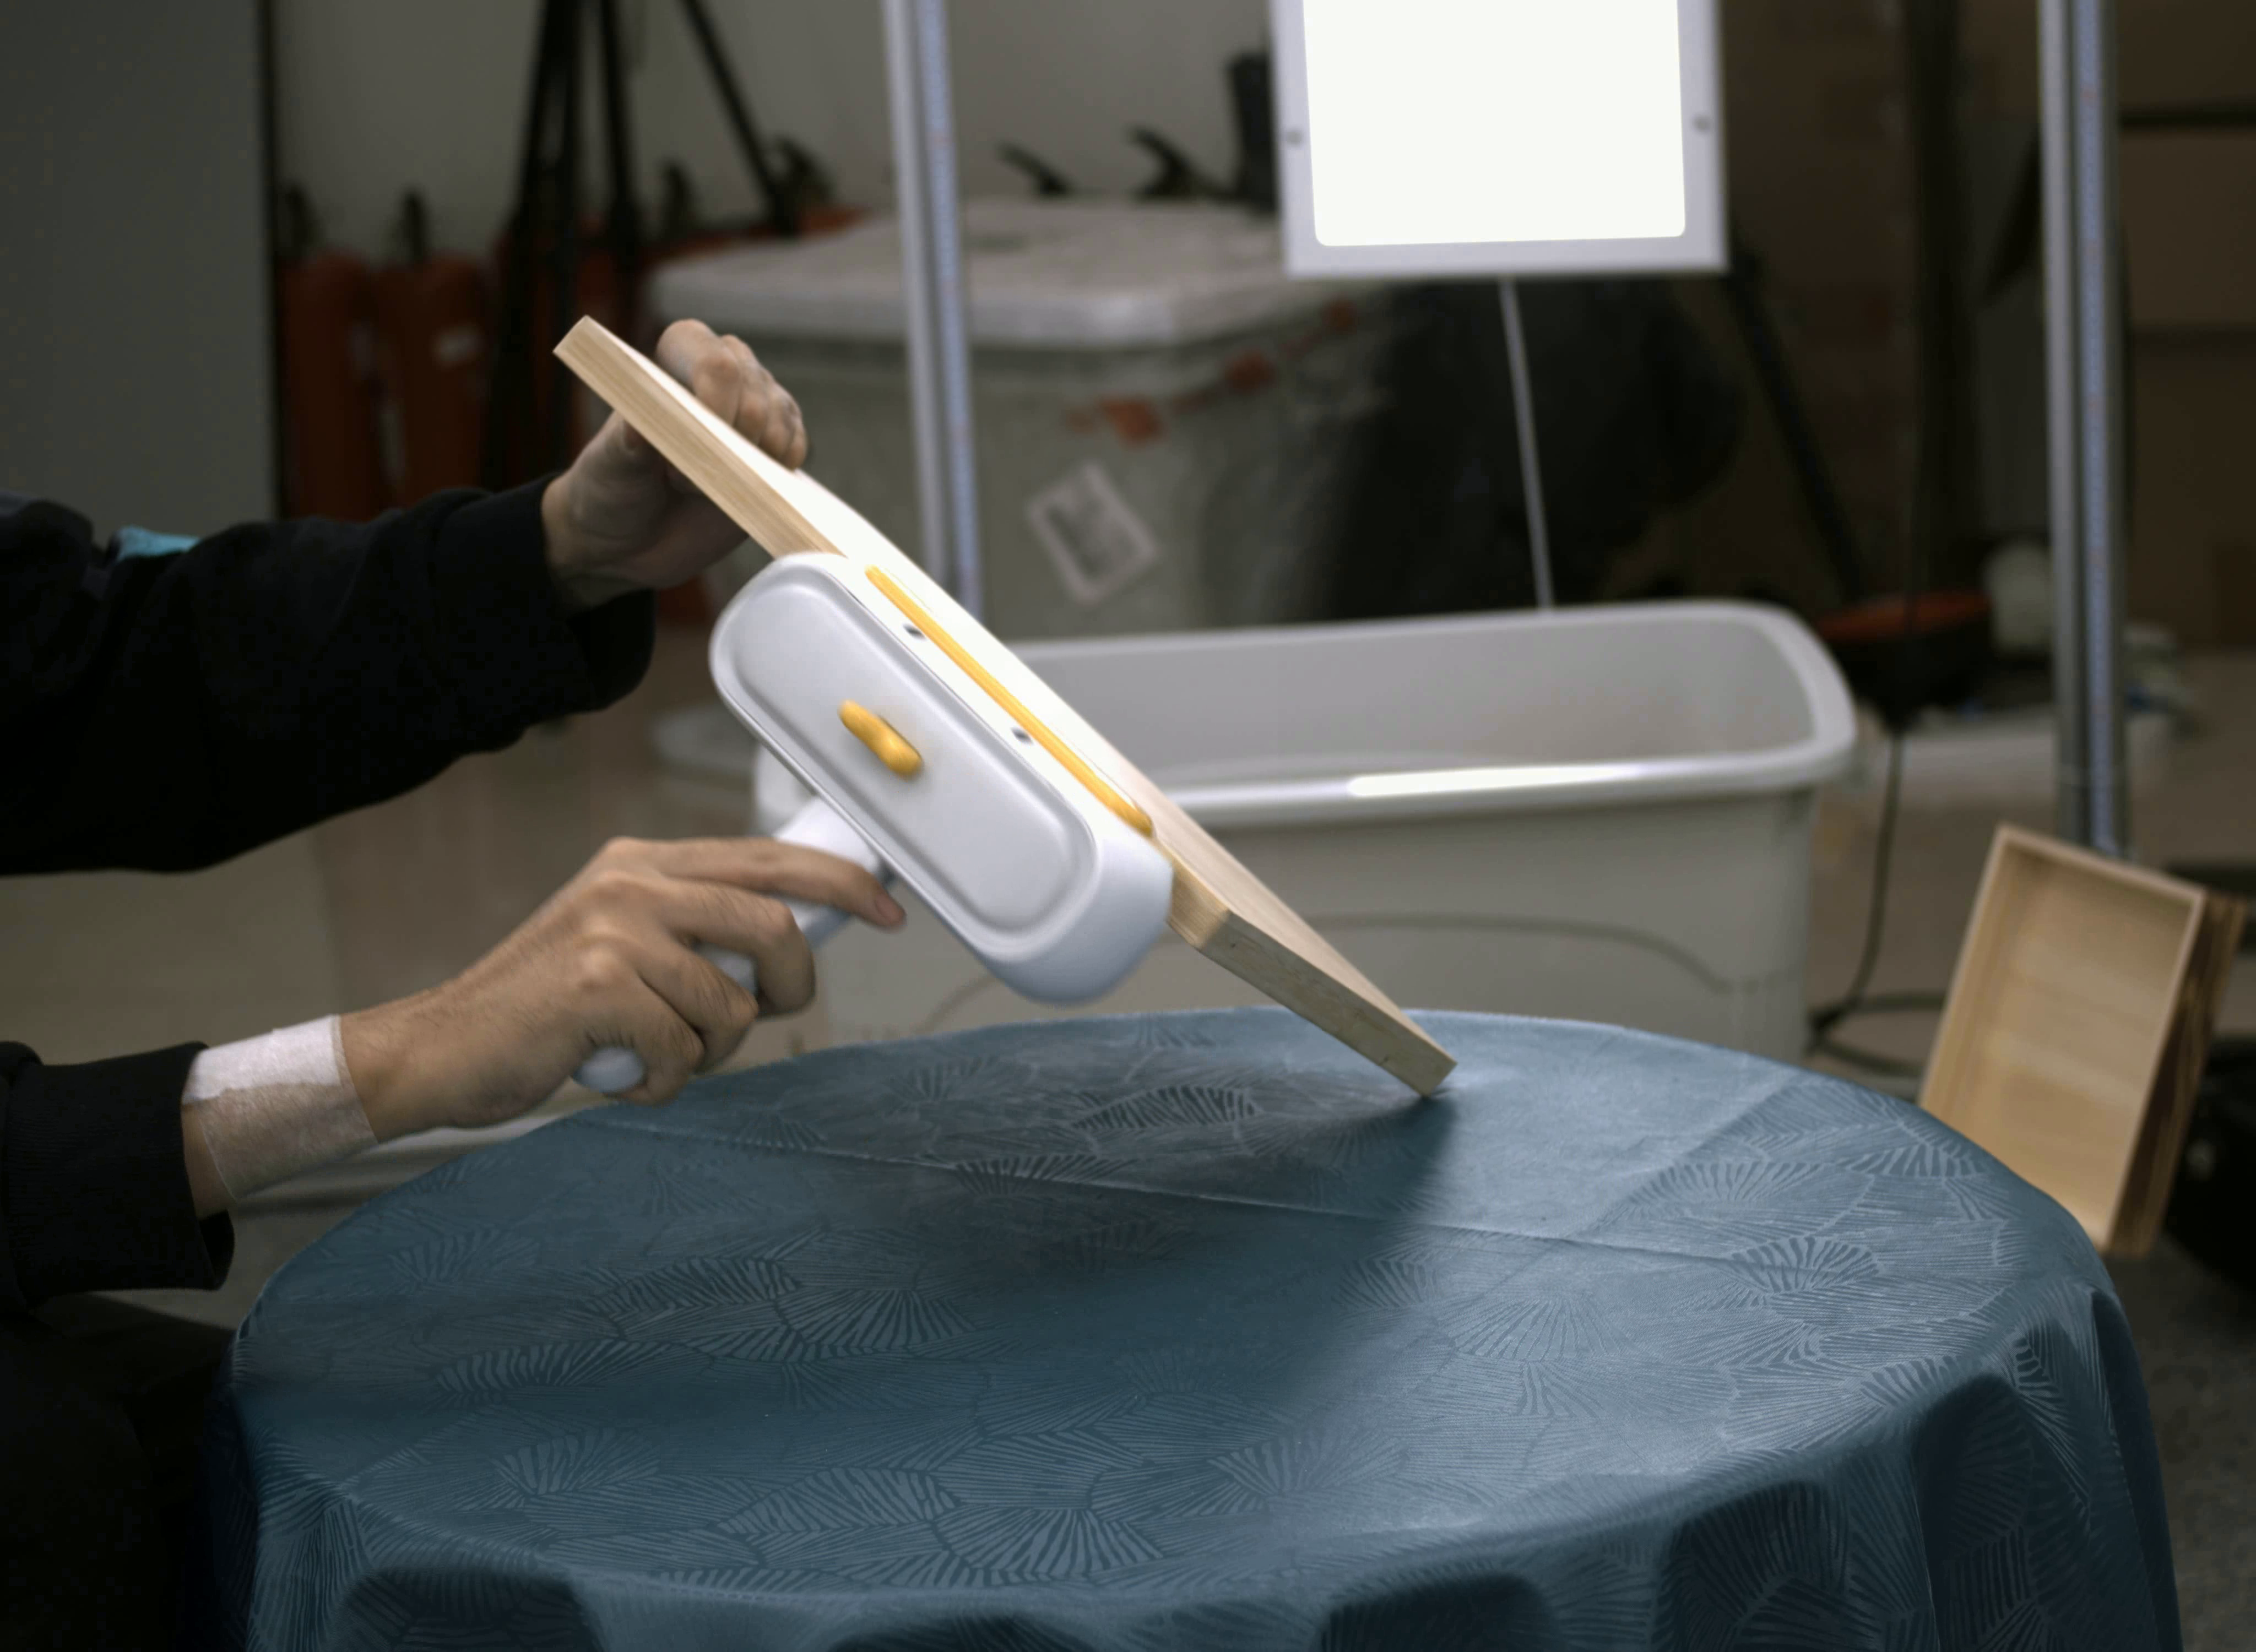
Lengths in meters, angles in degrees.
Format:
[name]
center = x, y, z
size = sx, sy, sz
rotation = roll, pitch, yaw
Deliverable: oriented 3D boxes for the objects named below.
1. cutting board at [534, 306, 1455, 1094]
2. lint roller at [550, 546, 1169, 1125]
[cutting board]
center = -0.046, -0.043, 1.951
size = 0.352, 0.023, 0.247
rotation = 42, 3, 27
[lint roller]
center = -0.106, 0.022, 1.779
size = 0.195, 0.192, 0.073
rotation = 41, -2, 27
